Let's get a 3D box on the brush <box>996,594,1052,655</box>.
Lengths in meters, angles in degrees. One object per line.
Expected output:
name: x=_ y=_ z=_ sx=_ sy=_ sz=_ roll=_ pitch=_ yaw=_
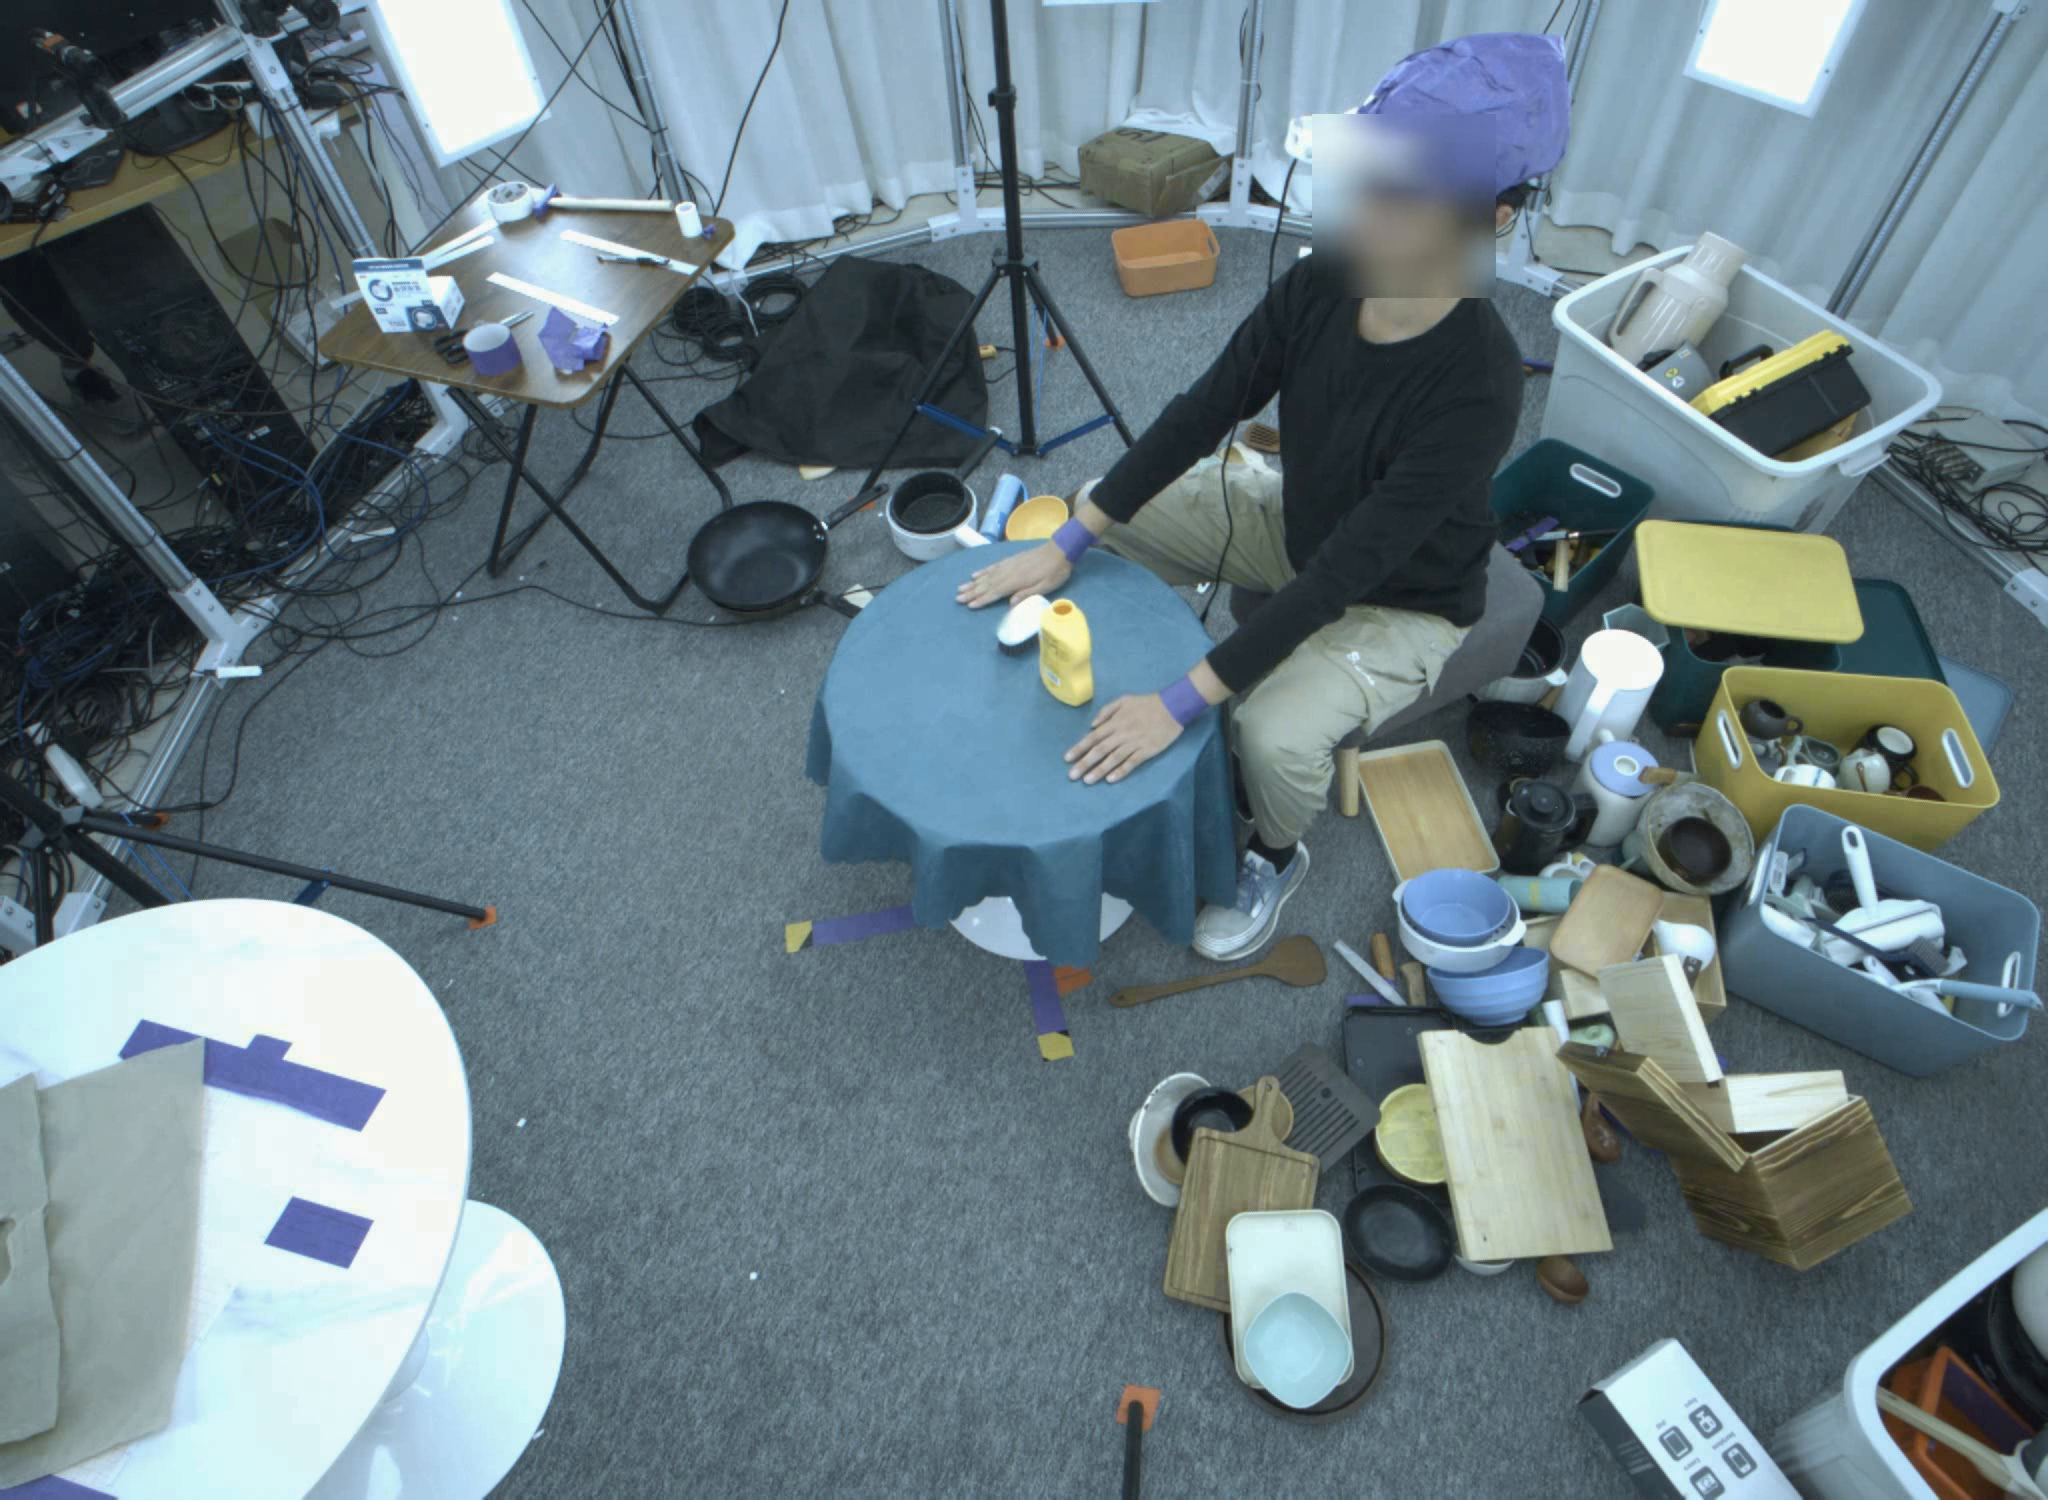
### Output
brush: x=0.000 y=-0.200 z=1.886 sx=0.100 sy=0.073 sz=0.049 roll=-36 pitch=61 yaw=-19

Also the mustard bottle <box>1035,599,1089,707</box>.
mustard bottle: x=0.054 y=-0.148 z=1.790 sx=0.060 sy=0.173 sz=0.096 roll=-35 pitch=59 yaw=-24
